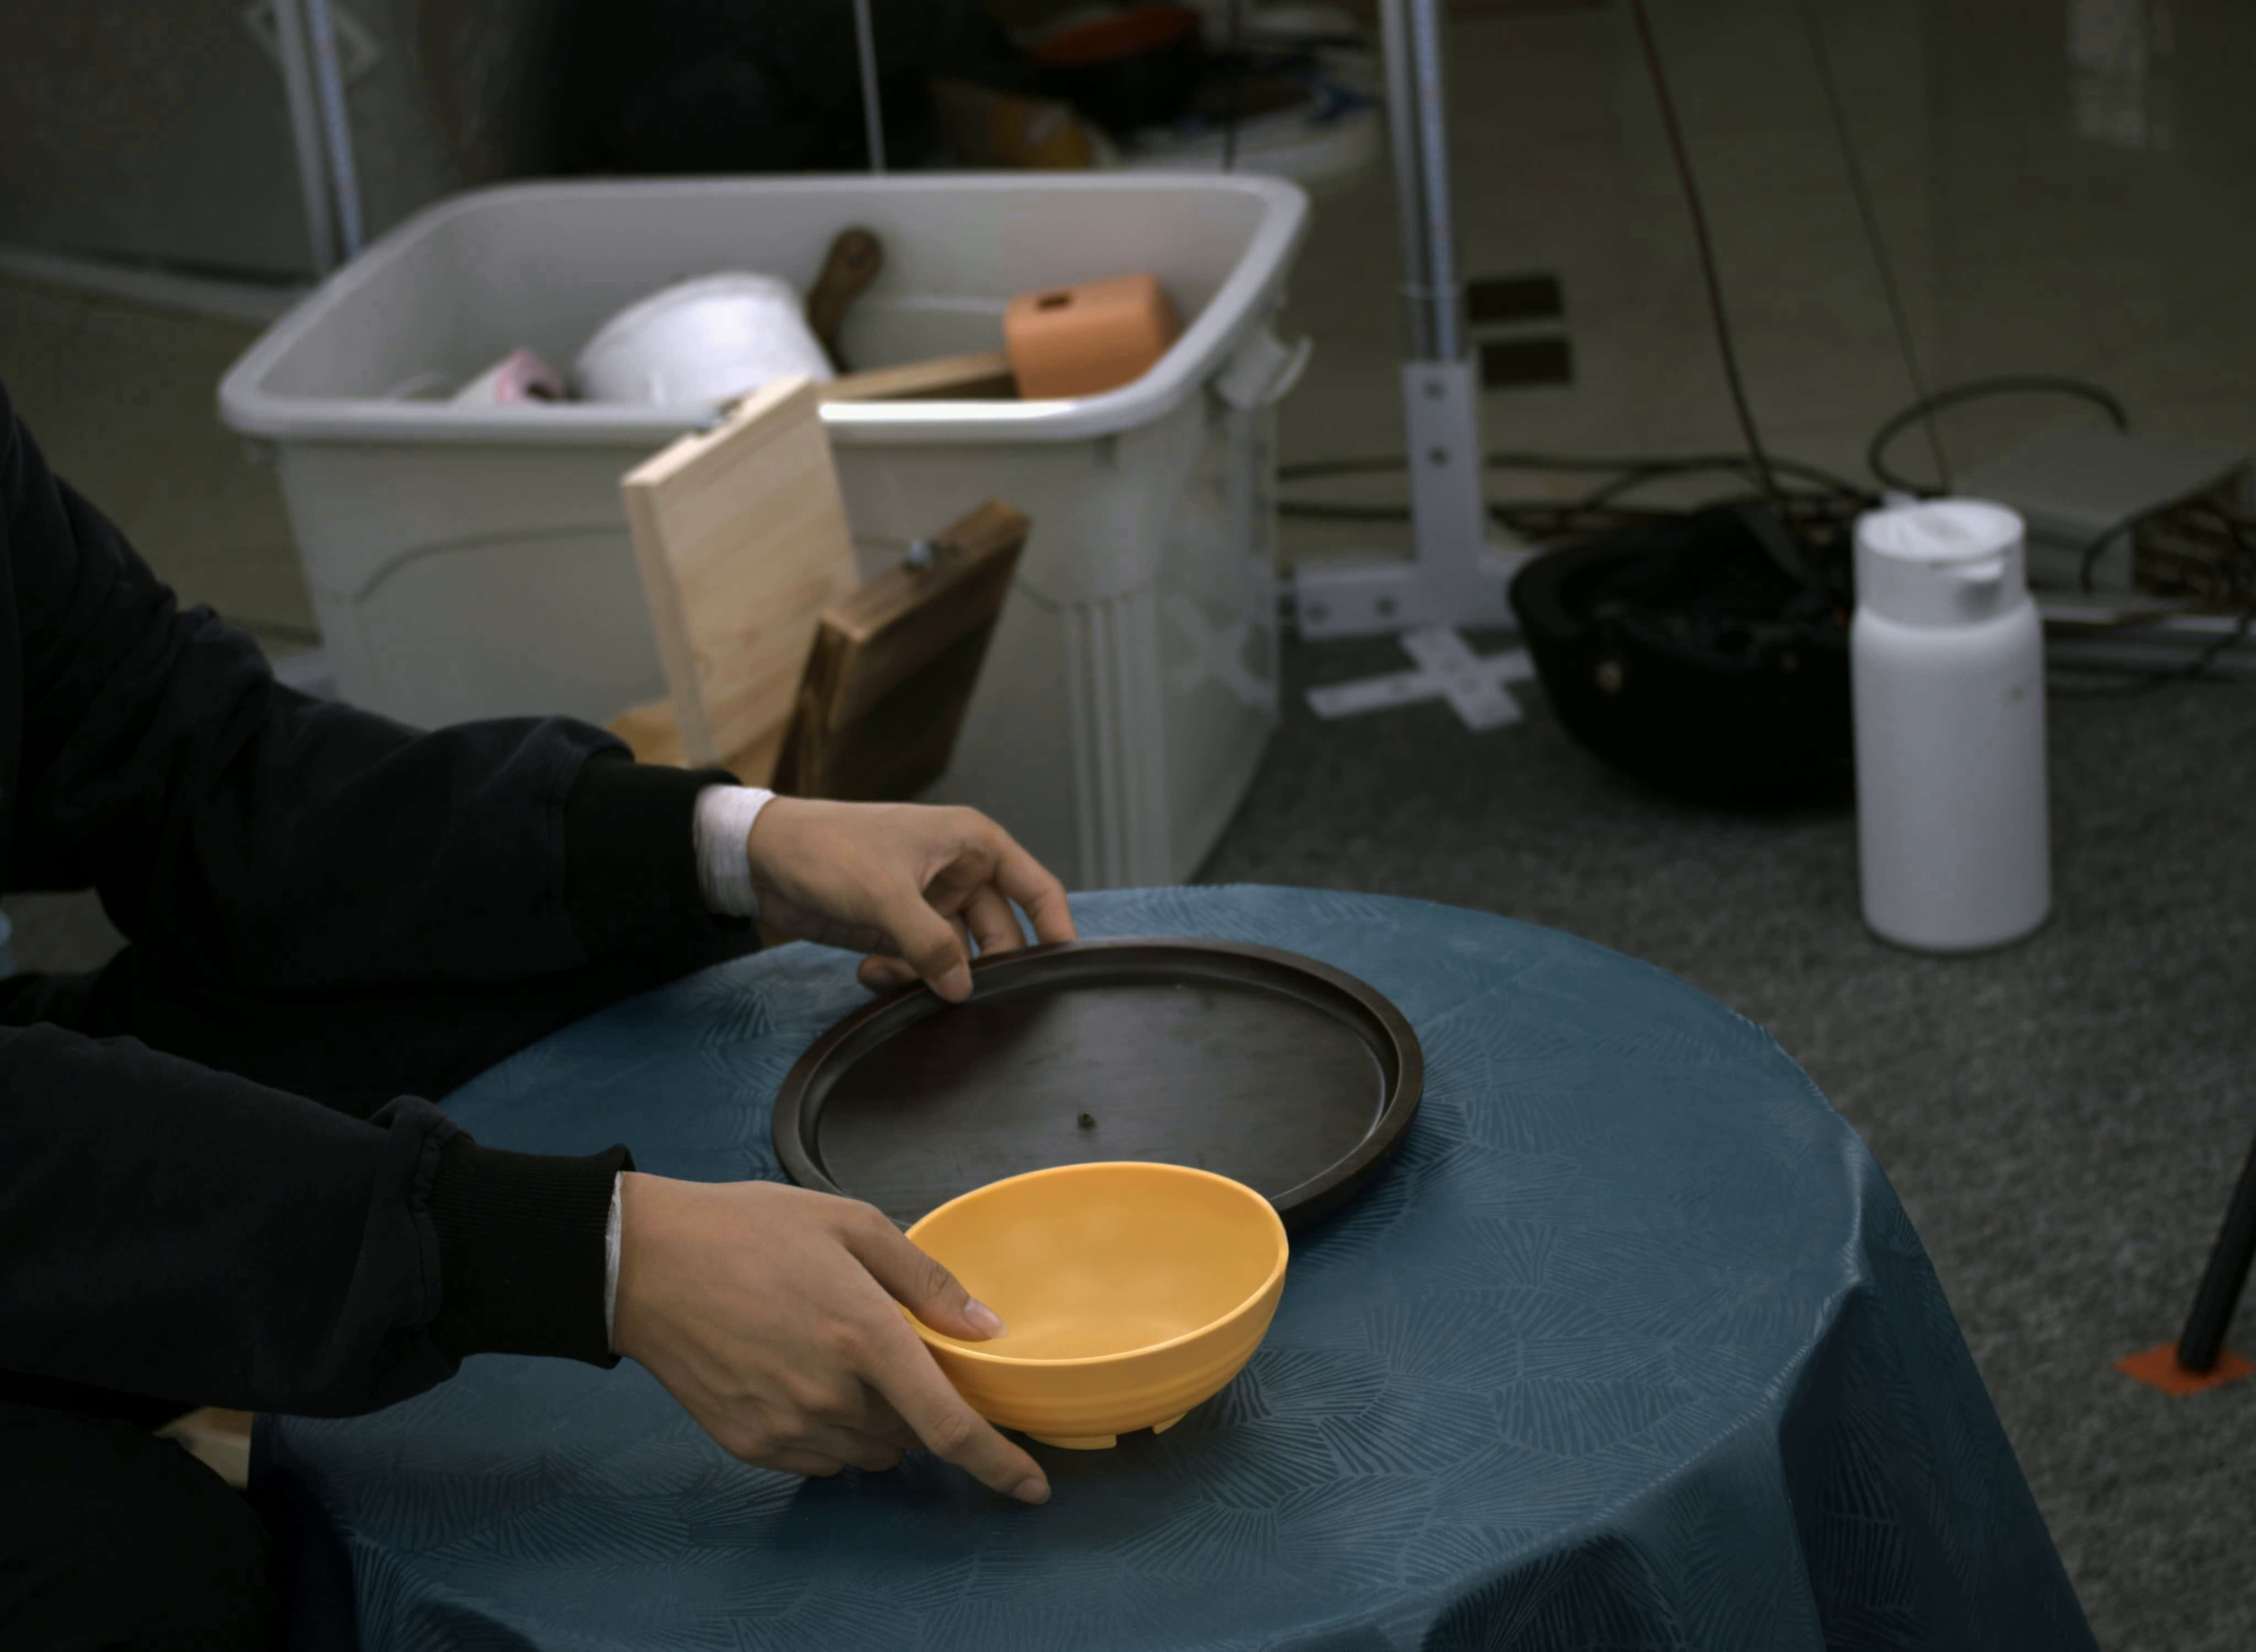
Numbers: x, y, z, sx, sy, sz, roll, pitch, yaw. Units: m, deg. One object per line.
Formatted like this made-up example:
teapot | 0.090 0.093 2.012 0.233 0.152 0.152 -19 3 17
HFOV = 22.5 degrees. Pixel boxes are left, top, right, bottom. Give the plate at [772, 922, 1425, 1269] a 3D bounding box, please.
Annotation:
plate | -0.011 0.111 2.185 0.254 0.029 0.251 -5 28 3

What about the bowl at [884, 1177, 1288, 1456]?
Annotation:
bowl | -0.011 0.180 2.000 0.145 0.061 0.143 -7 23 3
